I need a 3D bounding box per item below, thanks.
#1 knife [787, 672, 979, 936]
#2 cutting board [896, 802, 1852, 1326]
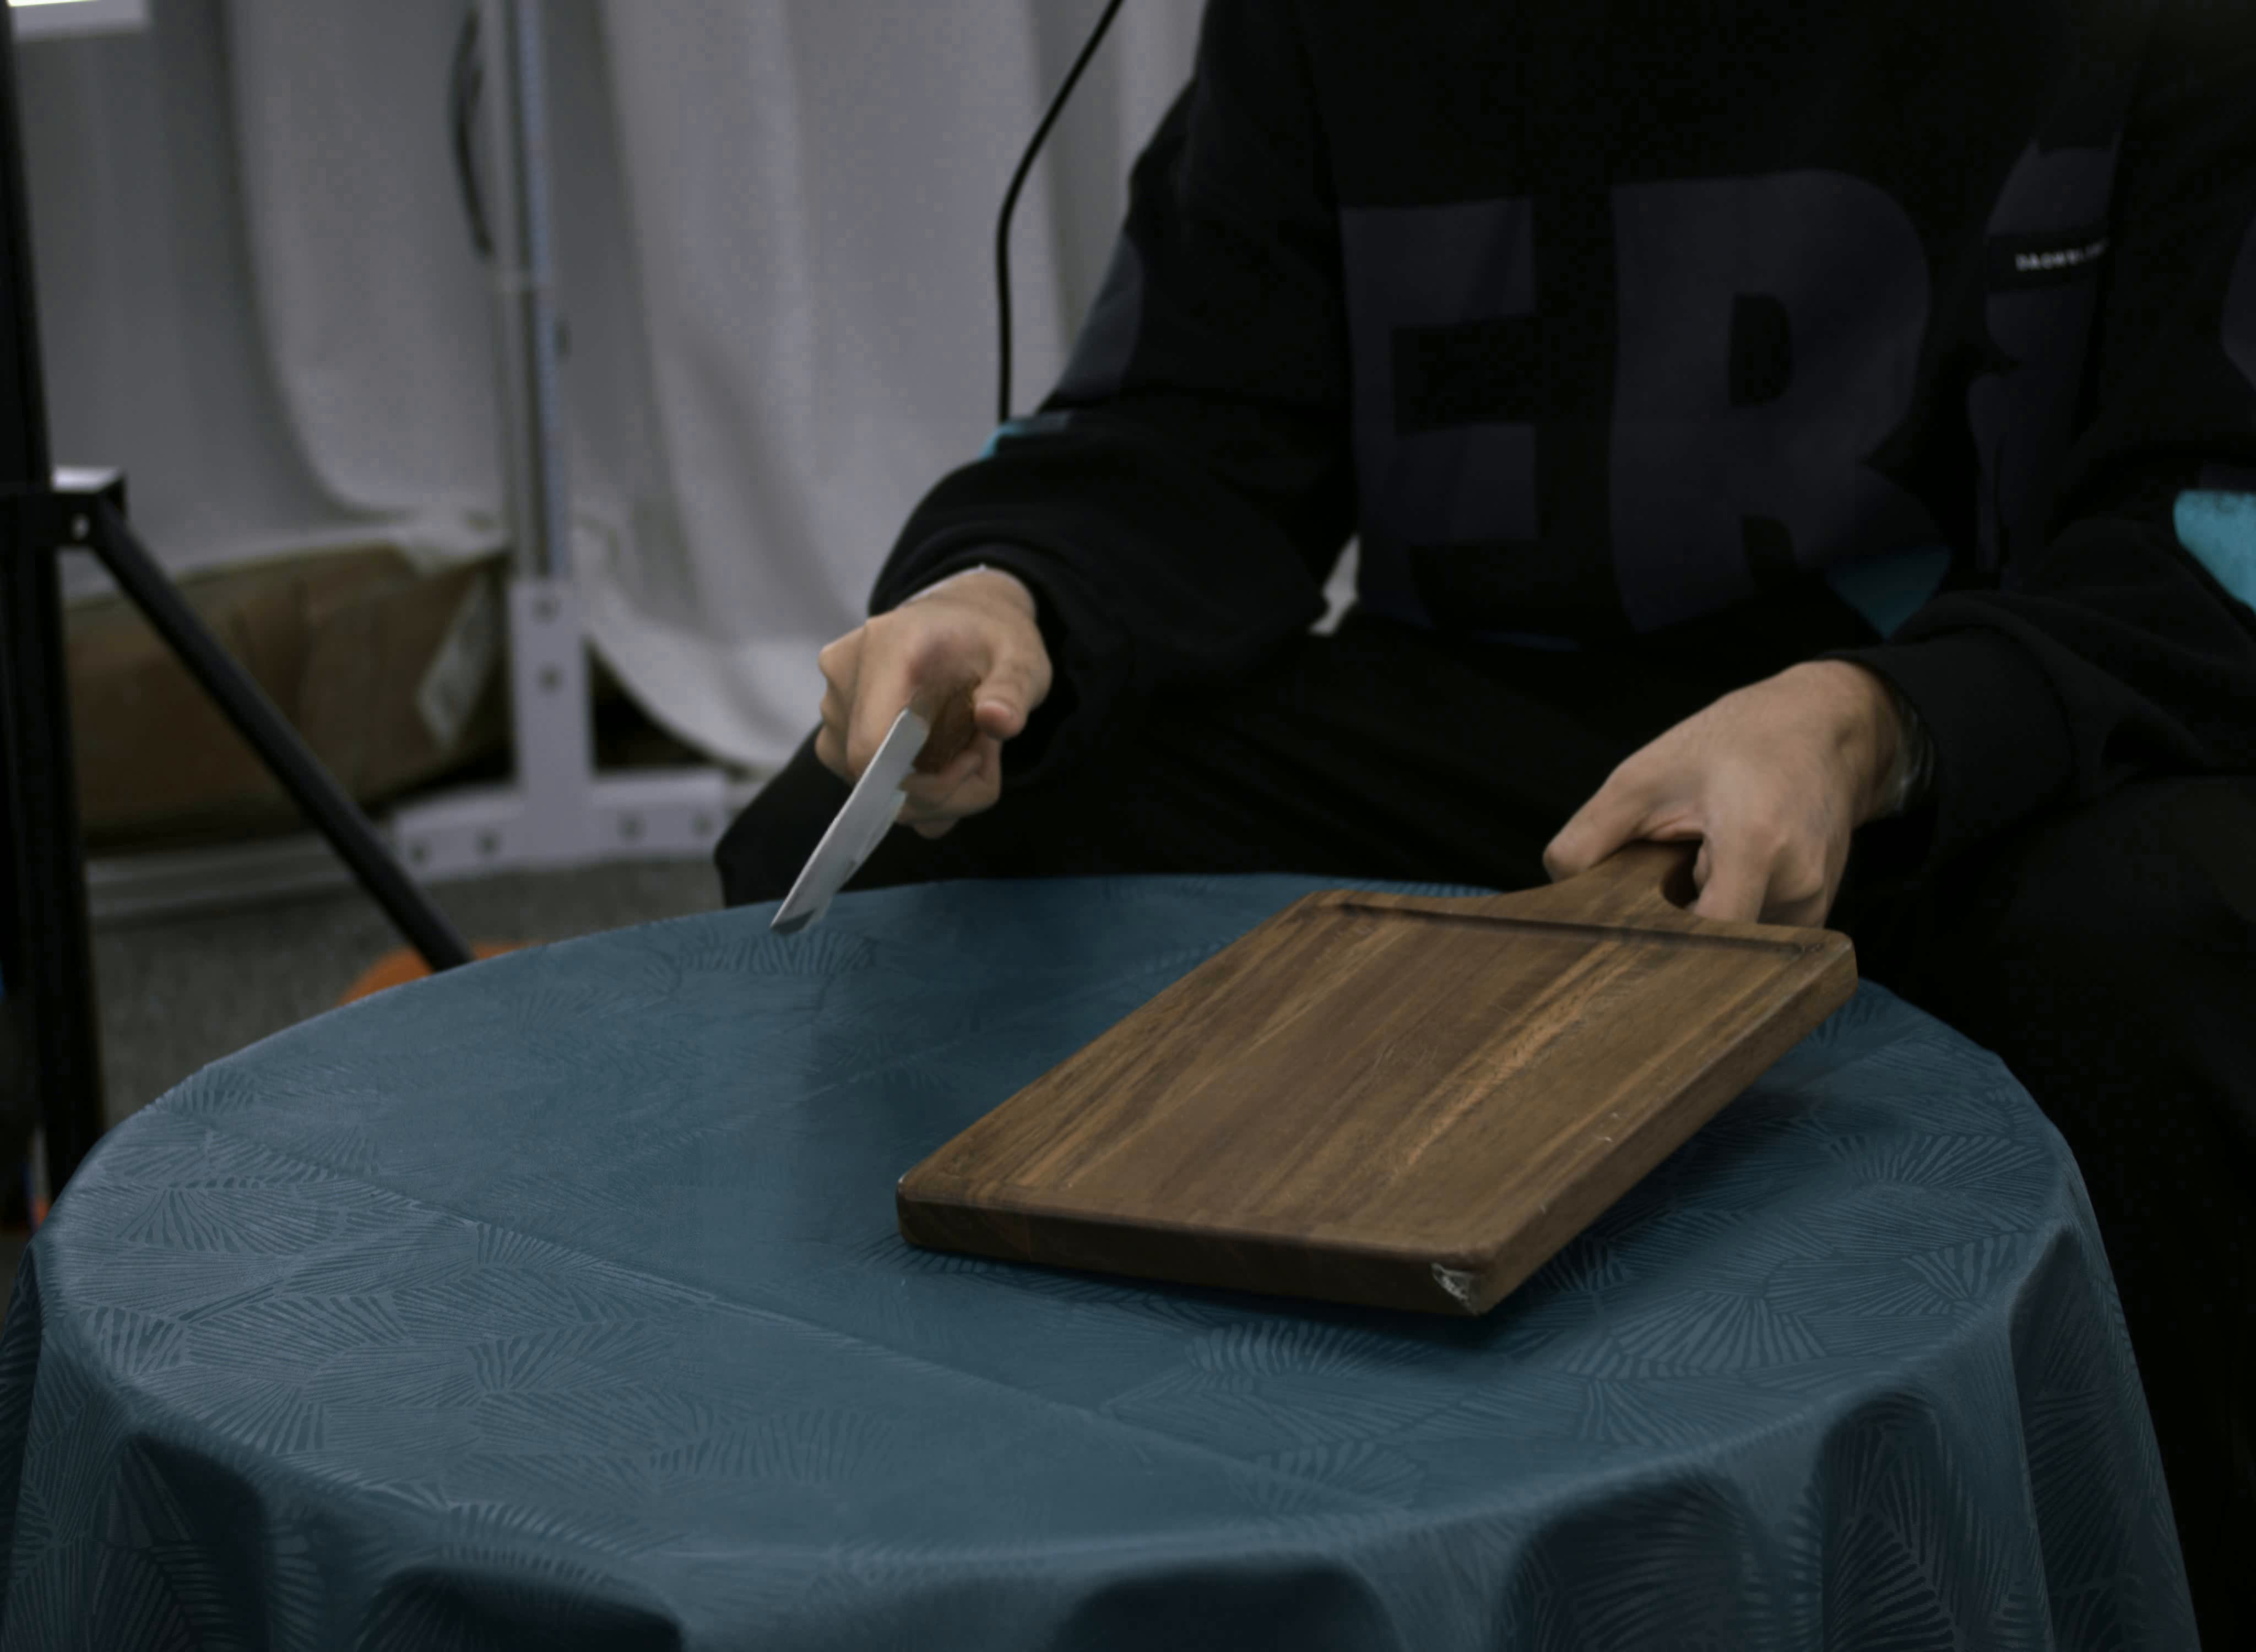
[{"bbox_3d":[-0.079,-0.005,1.699,0.021,0.093,0.305,31,0,1],"label":"knife"},{"bbox_3d":[0.101,0.061,1.597,0.205,0.023,0.346,5,22,32],"label":"cutting board"}]
